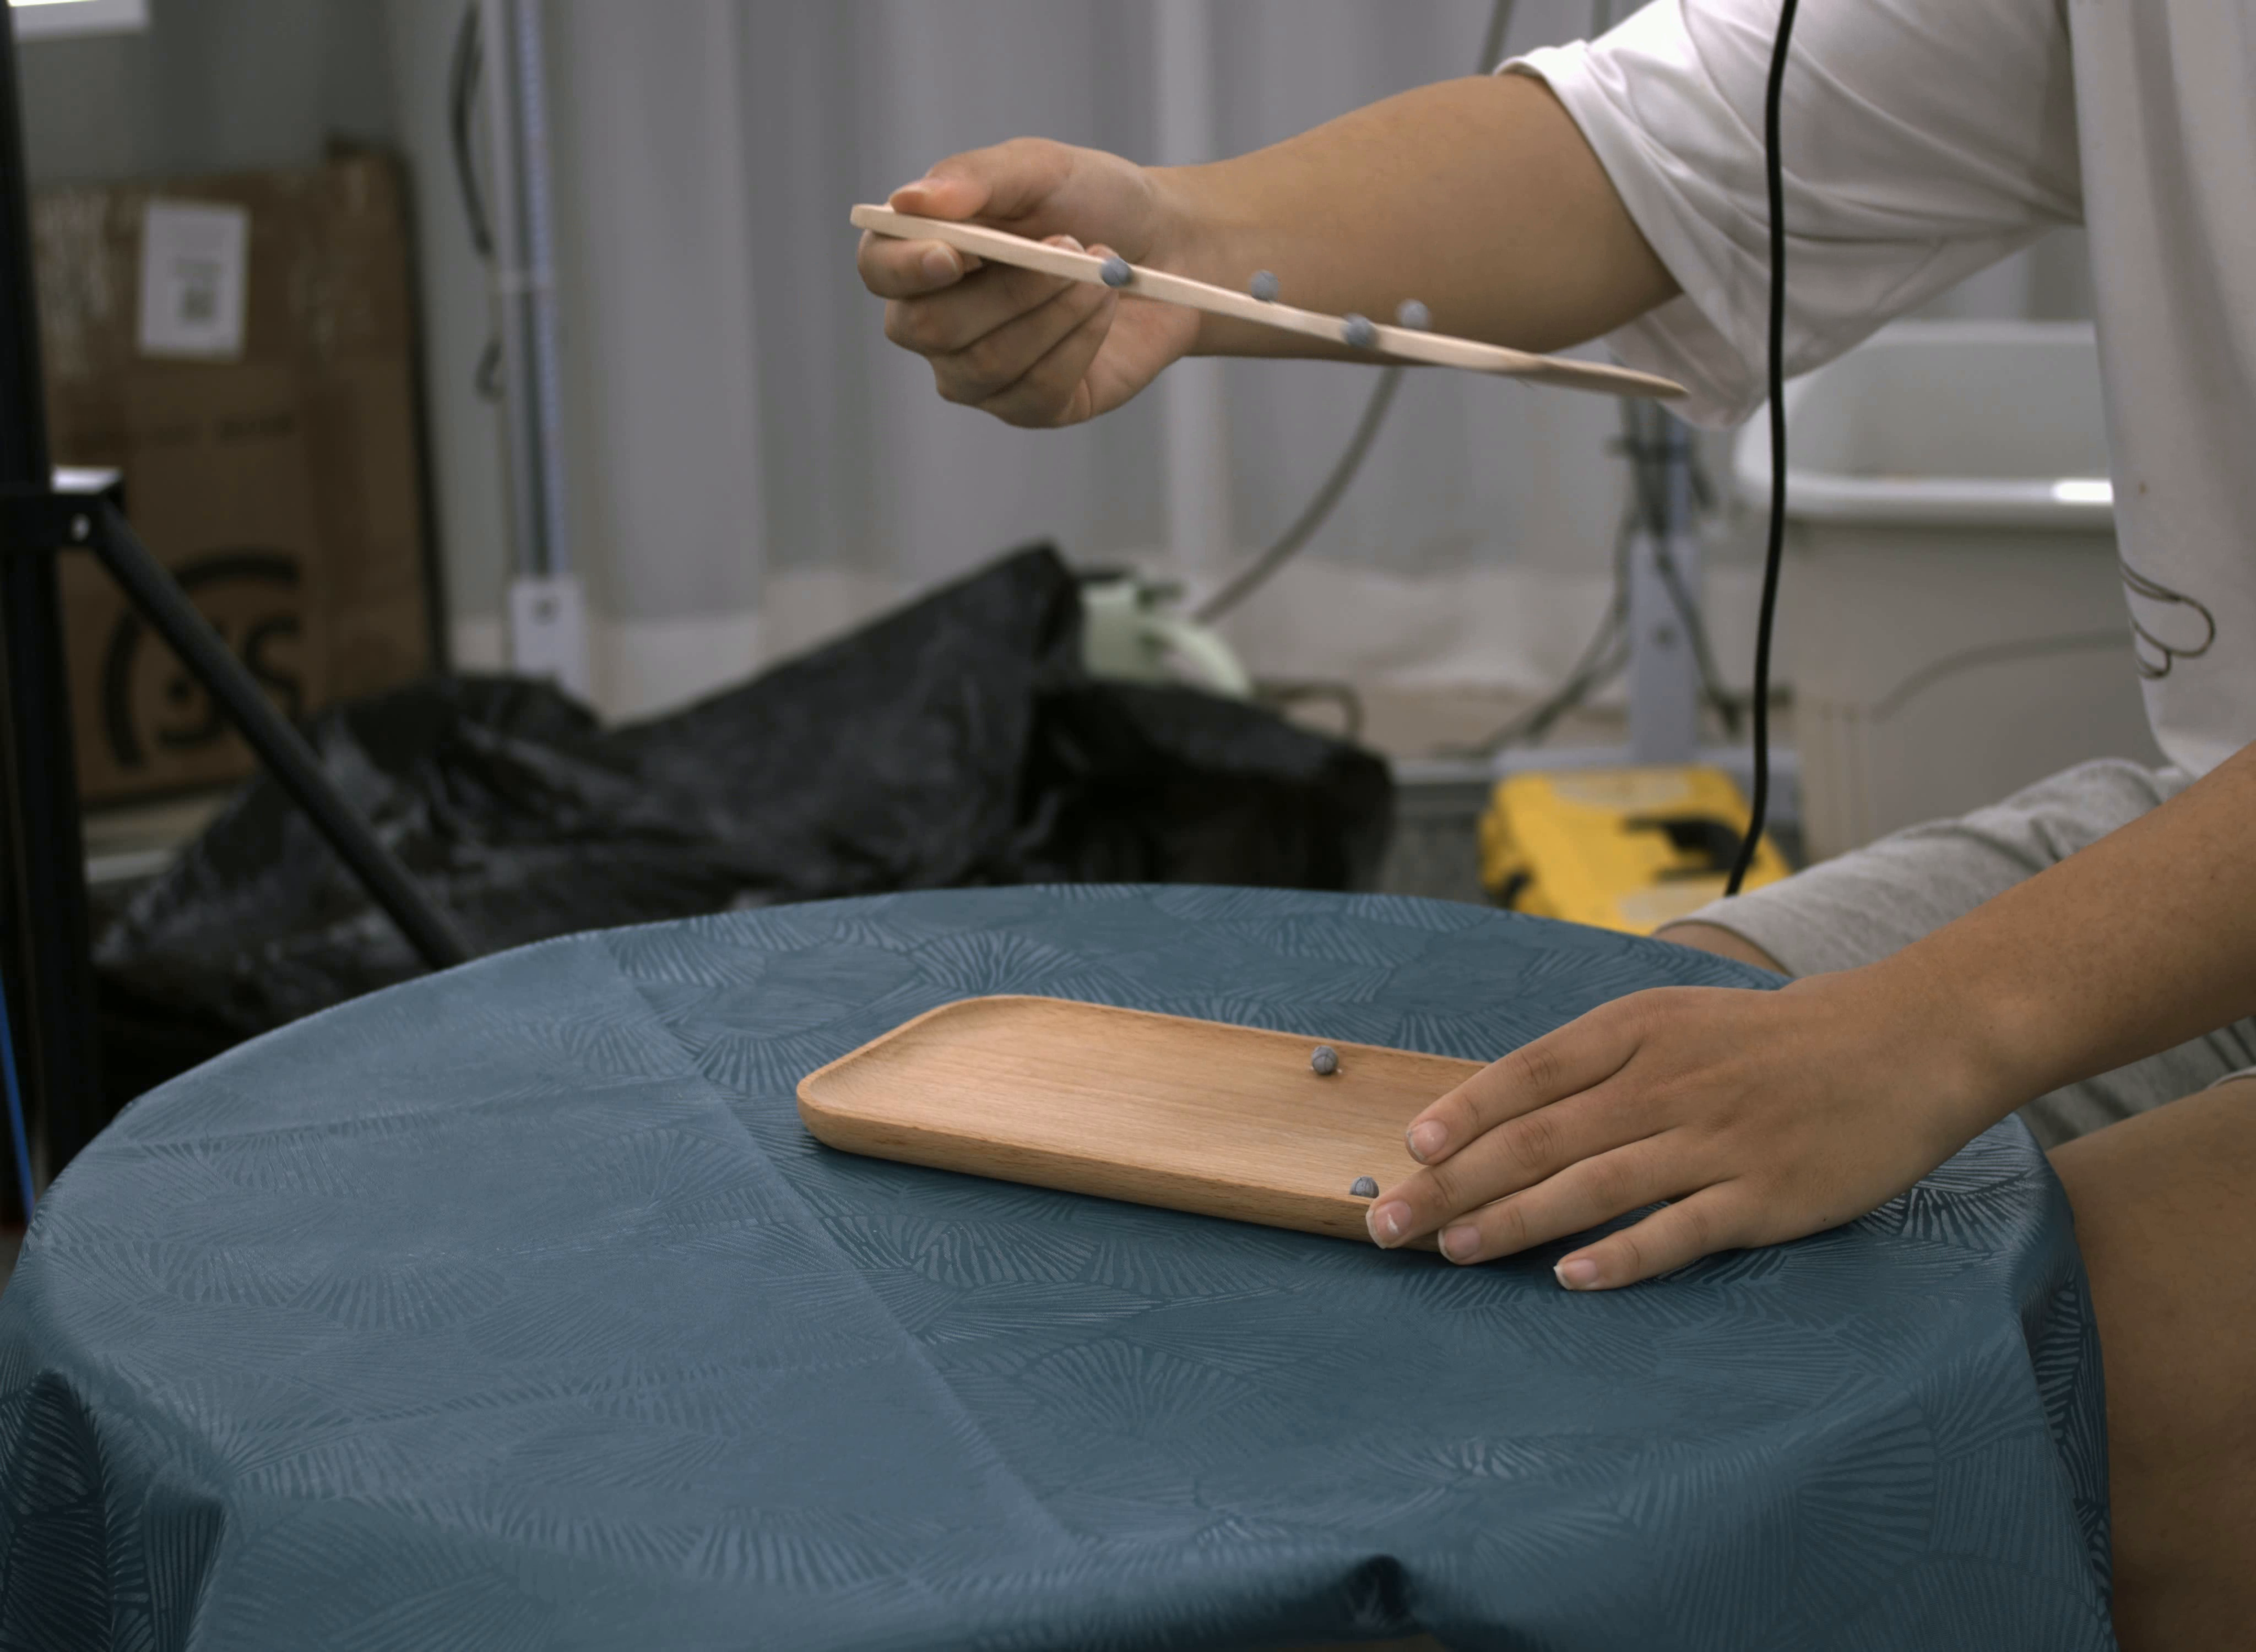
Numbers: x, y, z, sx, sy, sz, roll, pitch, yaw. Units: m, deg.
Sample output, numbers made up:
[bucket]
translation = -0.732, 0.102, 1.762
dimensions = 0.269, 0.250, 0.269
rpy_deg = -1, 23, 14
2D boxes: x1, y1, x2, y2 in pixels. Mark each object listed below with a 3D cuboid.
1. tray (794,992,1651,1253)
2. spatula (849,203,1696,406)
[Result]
[tray]
translation = 0.027, 0.088, 1.599
dimensions = 0.255, 0.023, 0.128
rpy_deg = 7, 16, 32
[spatula]
translation = 0.027, -0.148, 1.508
dimensions = 0.300, 0.011, 0.070
rpy_deg = 18, 10, 42
